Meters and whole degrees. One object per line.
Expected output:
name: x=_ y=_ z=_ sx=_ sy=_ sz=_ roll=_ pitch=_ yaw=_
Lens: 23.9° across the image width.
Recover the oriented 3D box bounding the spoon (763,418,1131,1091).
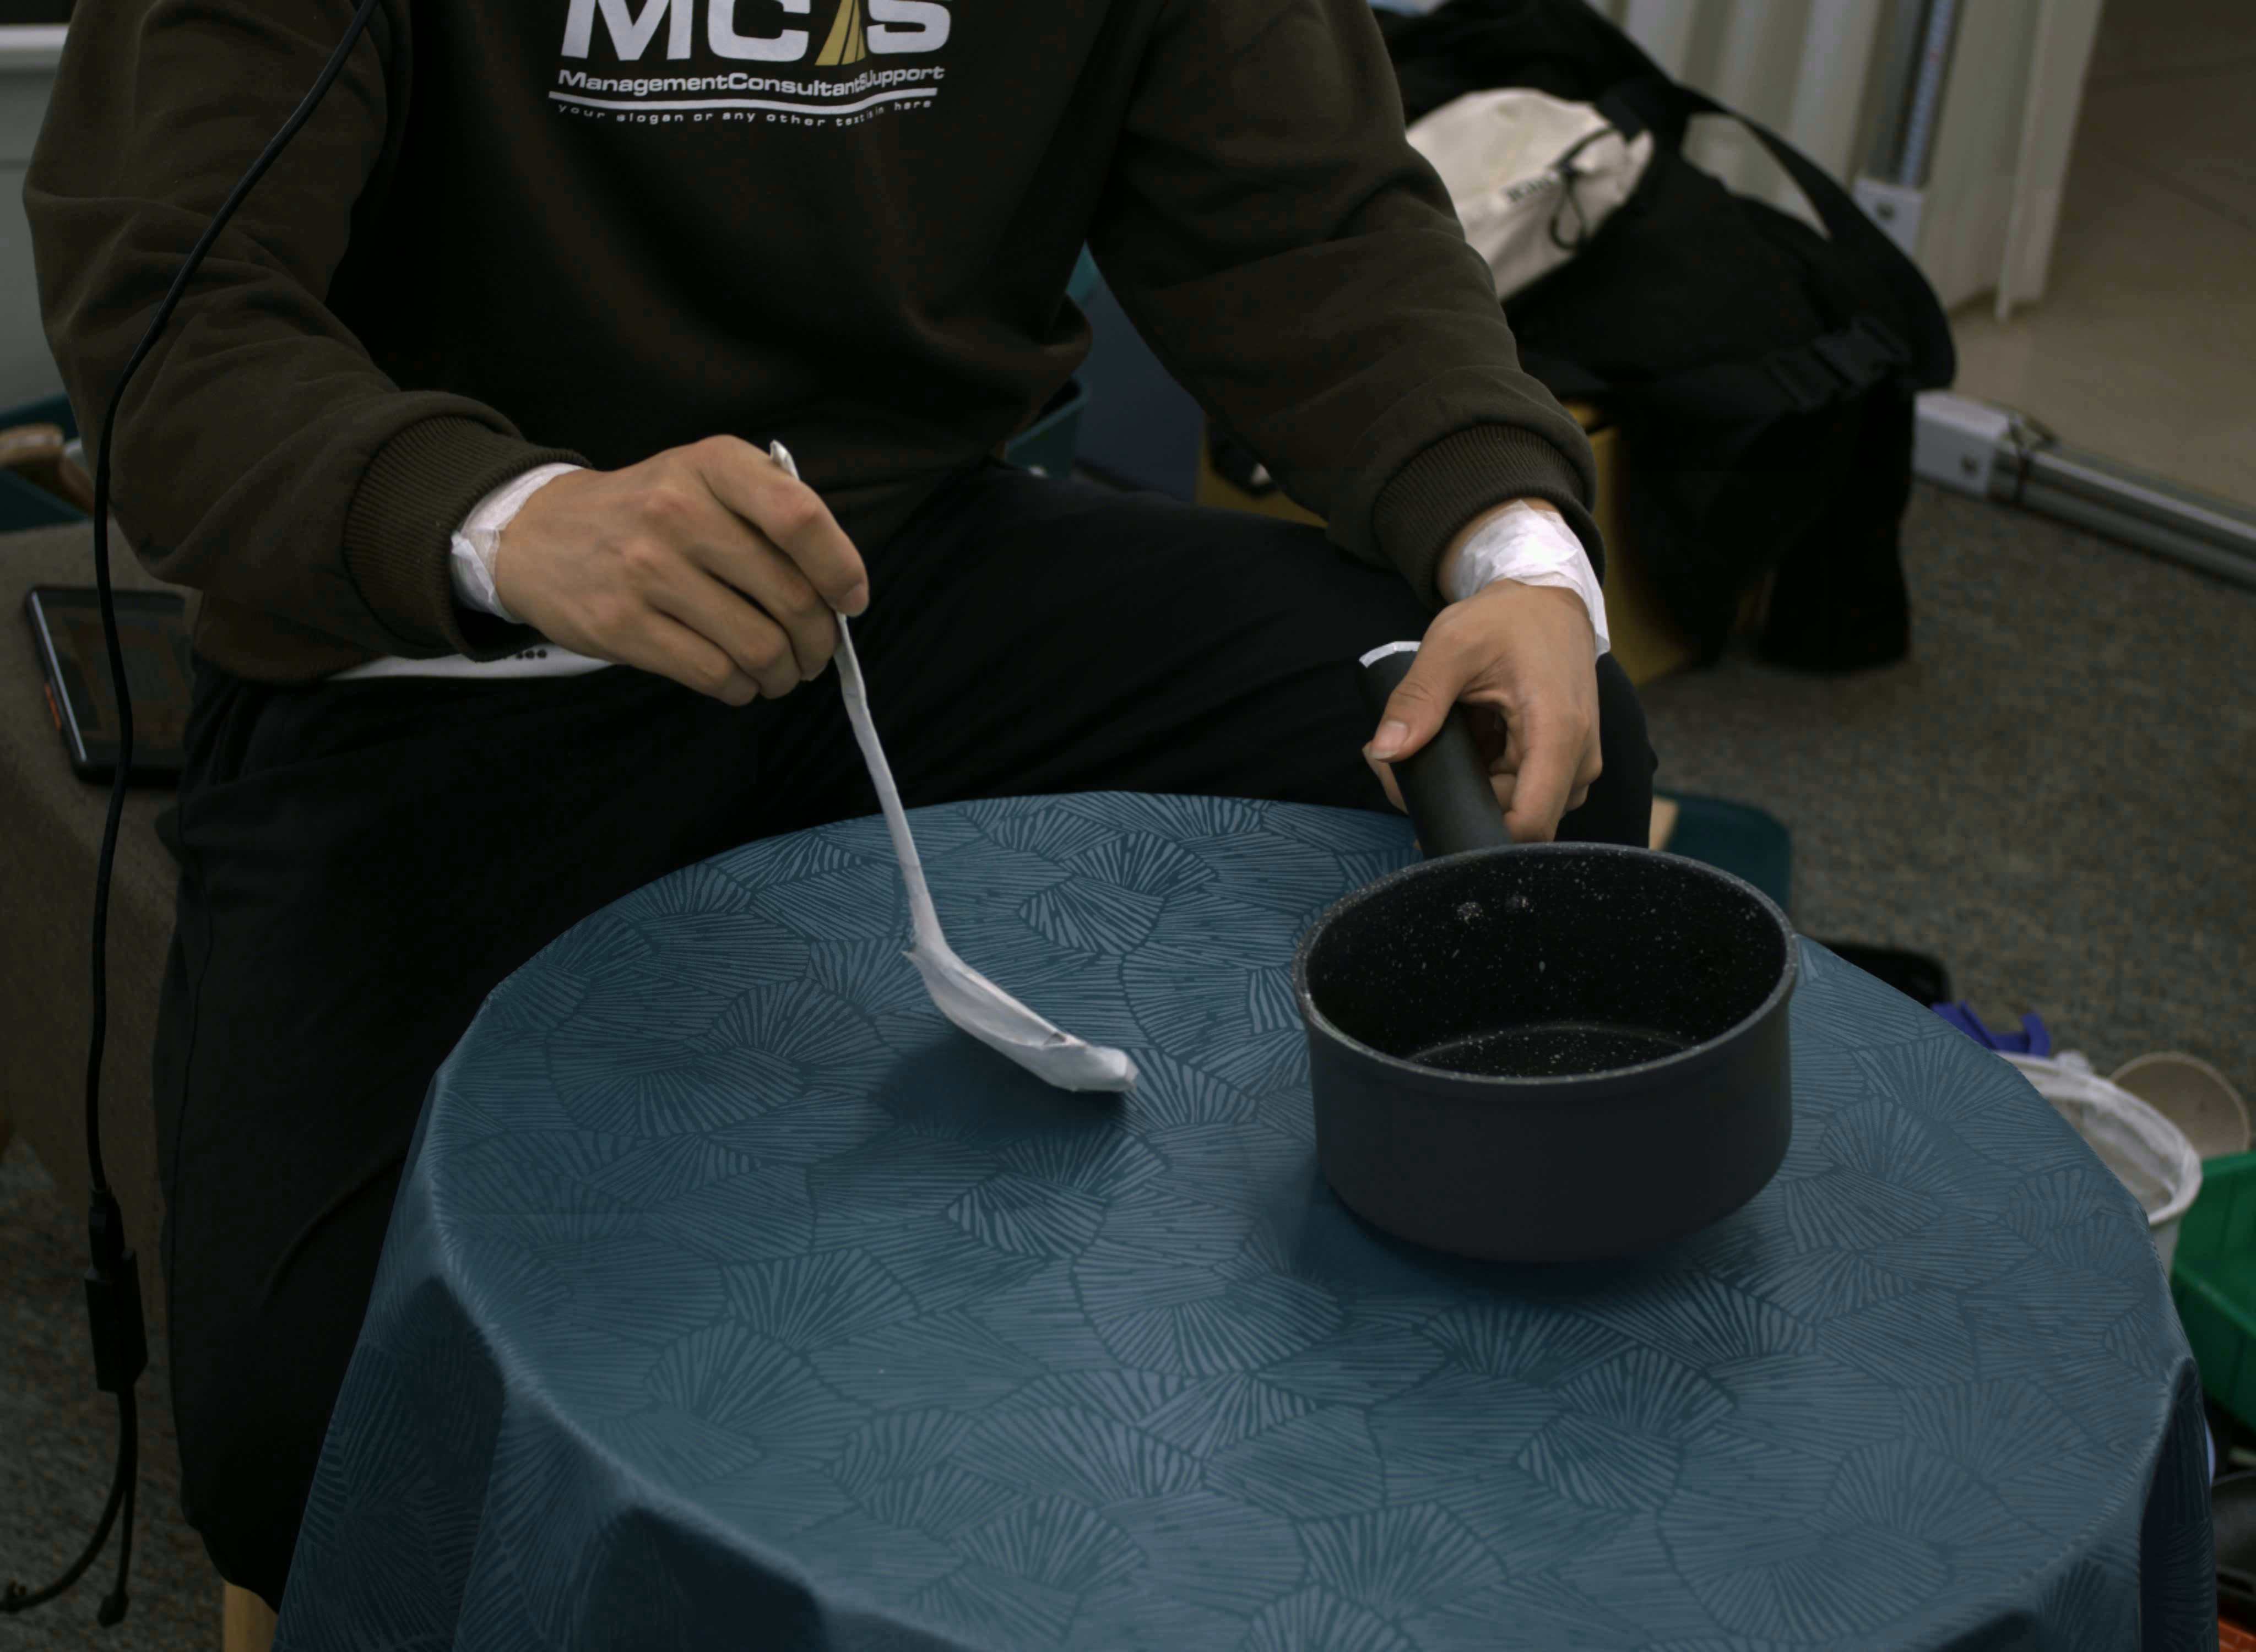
spoon: x=-0.064 y=-0.023 z=1.808 sx=0.059 sy=0.276 sz=0.101 roll=-26 pitch=27 yaw=-22

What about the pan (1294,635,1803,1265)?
pan: x=0.135 y=0.040 z=1.878 sx=0.171 sy=0.086 sz=0.331 roll=-6 pitch=27 yaw=-3
